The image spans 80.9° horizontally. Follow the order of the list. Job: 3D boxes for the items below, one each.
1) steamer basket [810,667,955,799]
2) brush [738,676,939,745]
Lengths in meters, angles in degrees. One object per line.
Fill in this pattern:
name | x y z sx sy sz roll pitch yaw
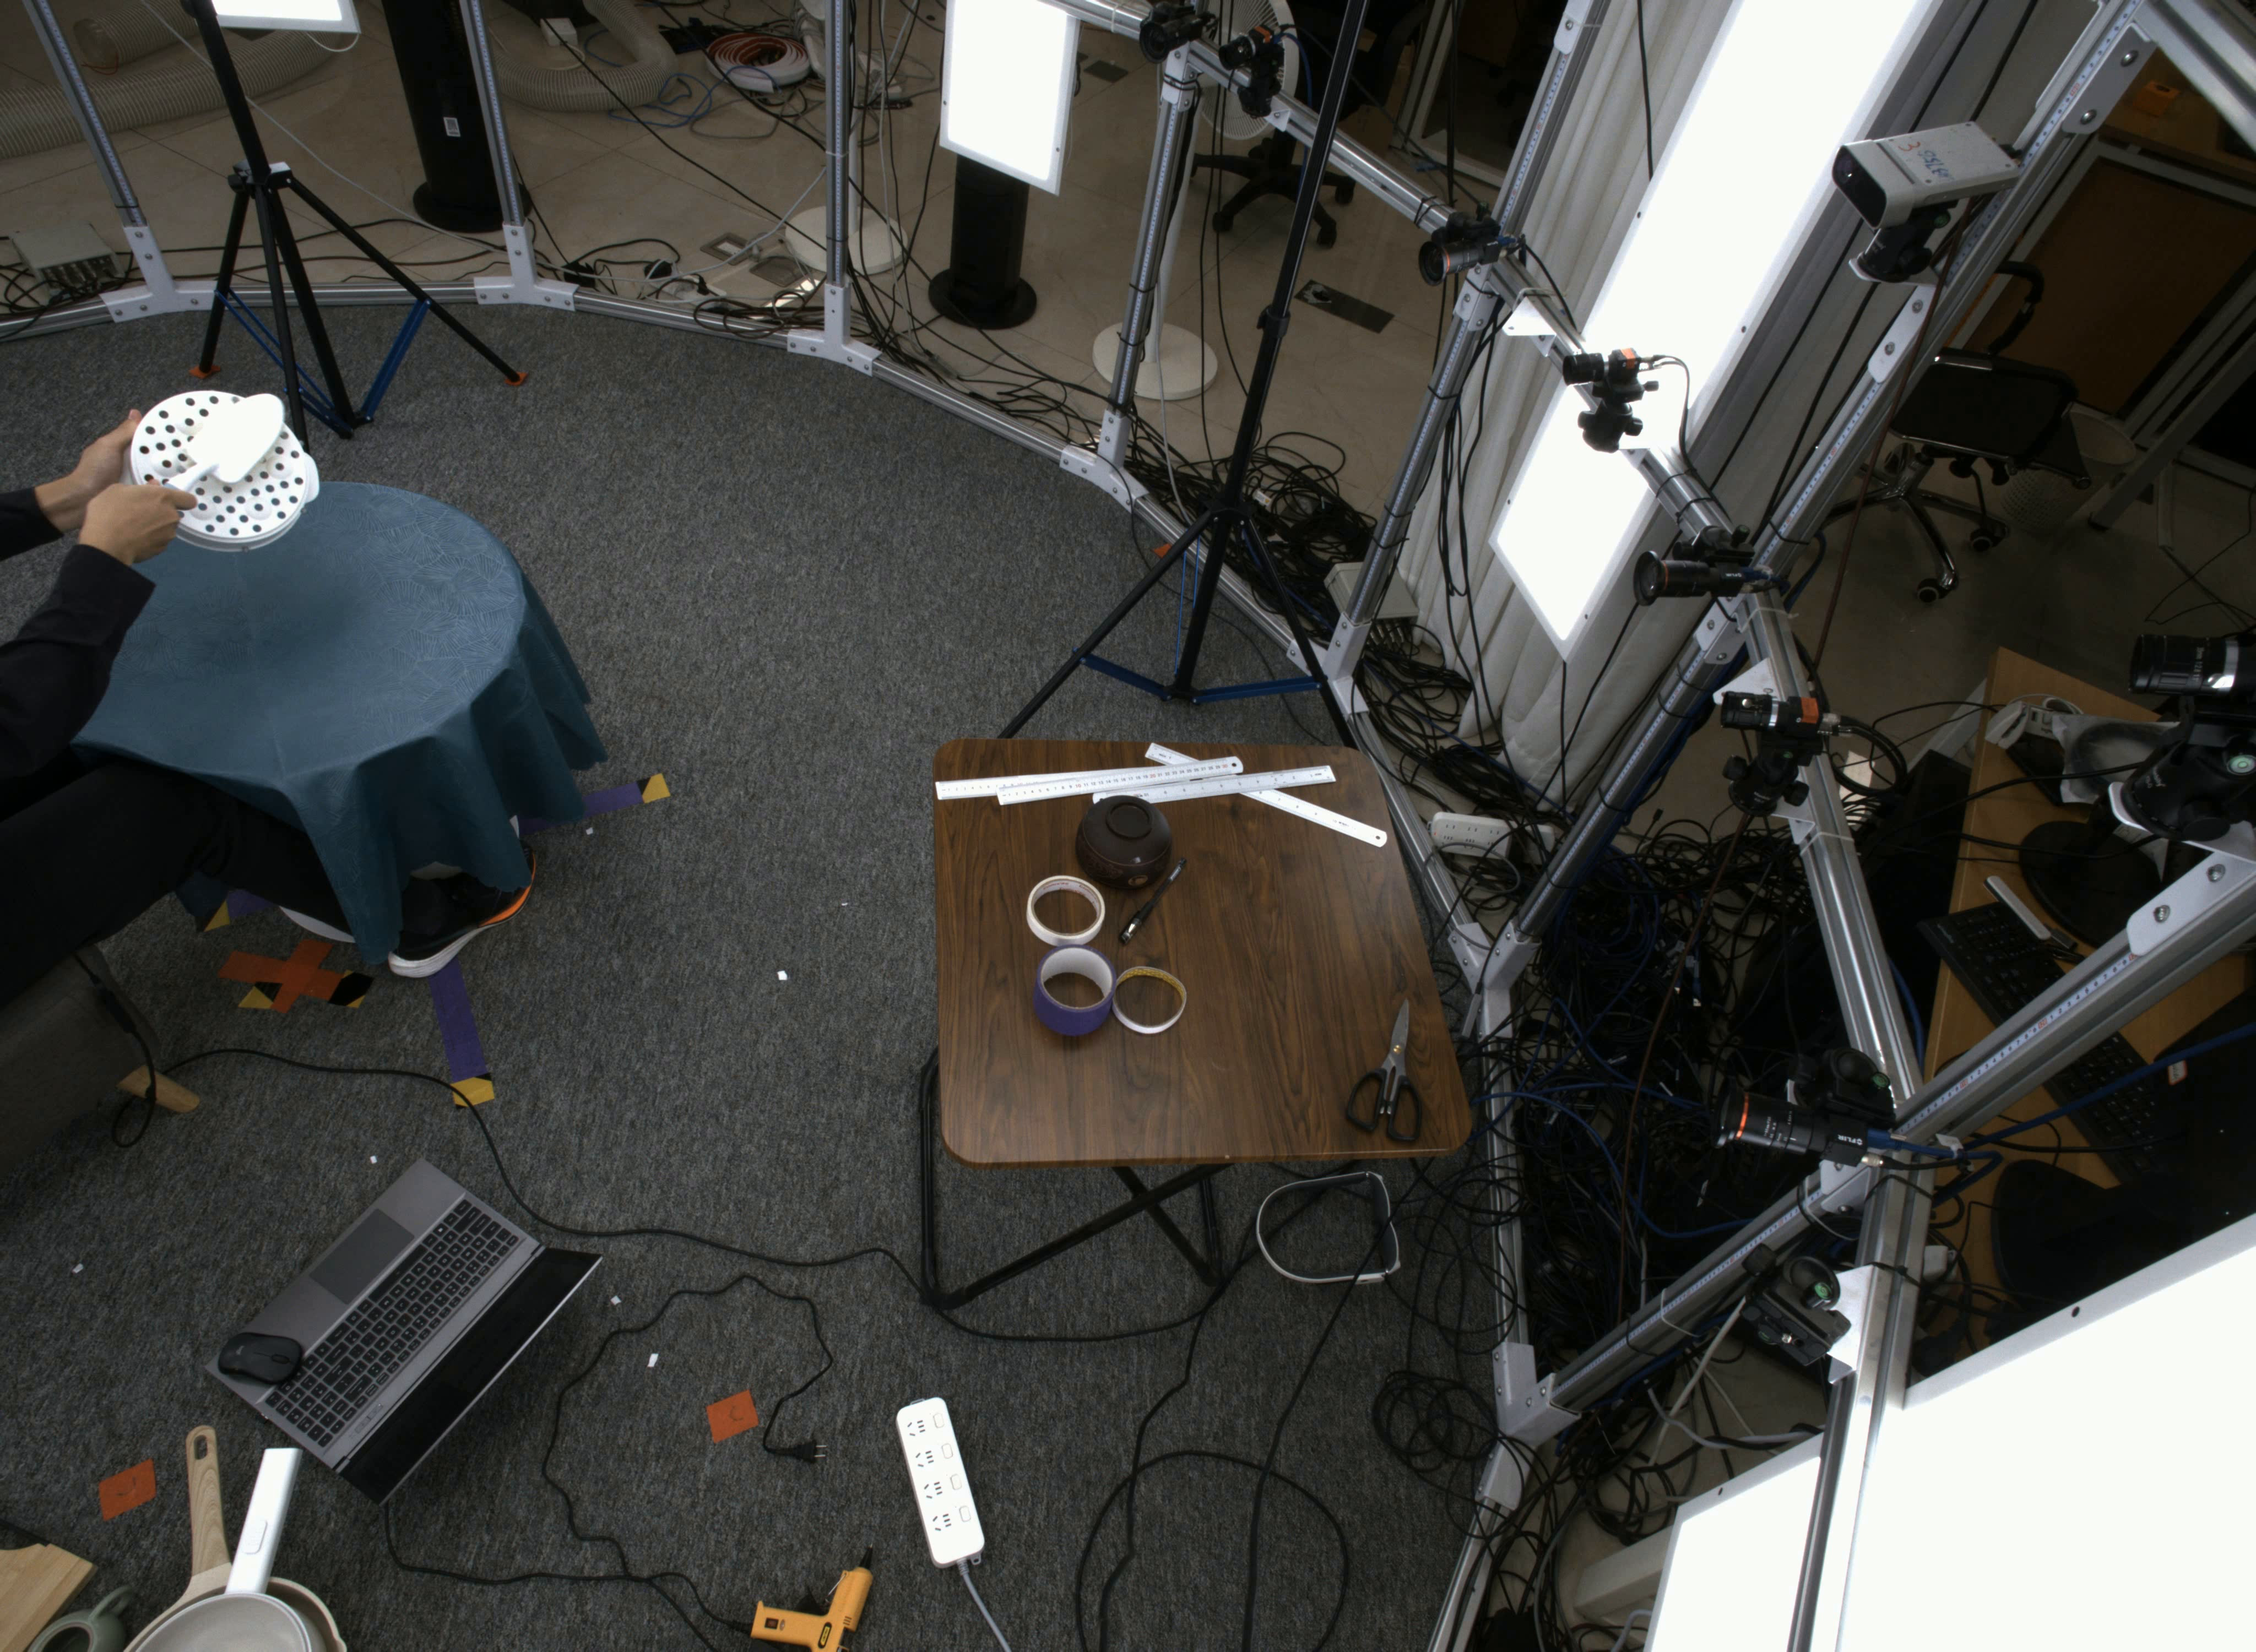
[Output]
steamer basket | -0.378 -0.147 2.016 0.231 0.069 0.200 21 65 -11
brush | -0.430 -0.158 1.930 0.328 0.087 0.080 -21 32 -32
